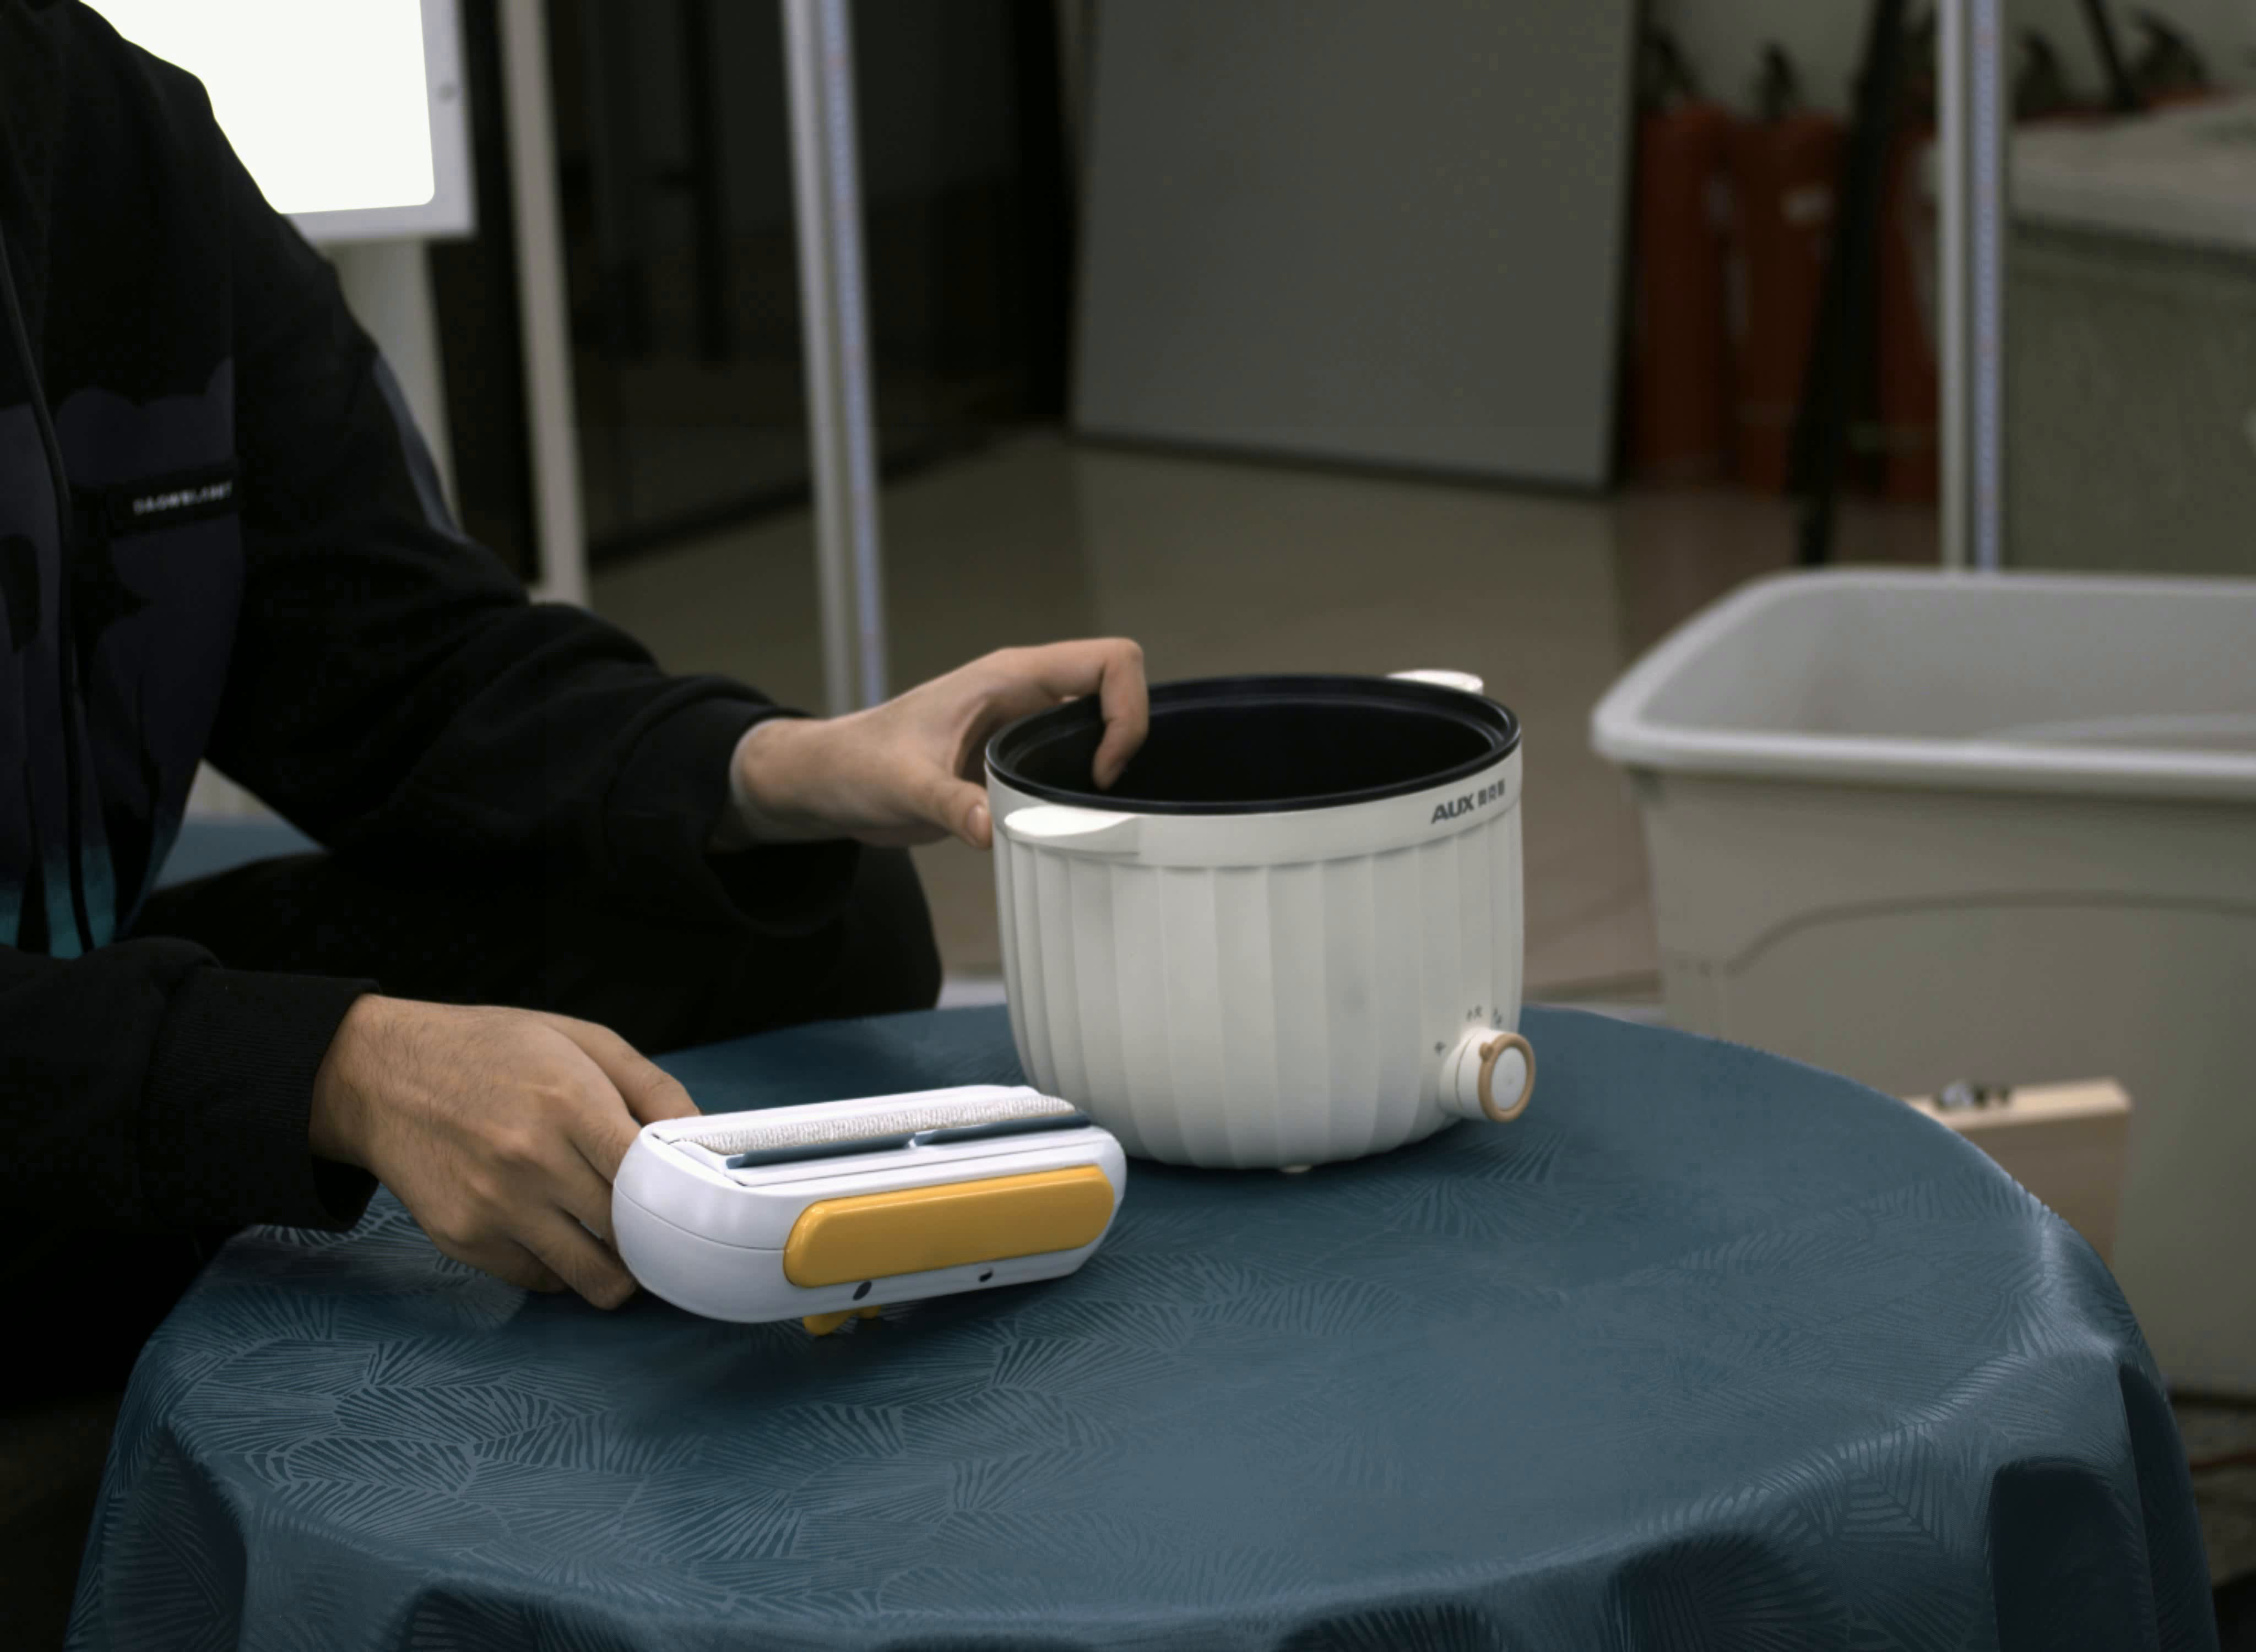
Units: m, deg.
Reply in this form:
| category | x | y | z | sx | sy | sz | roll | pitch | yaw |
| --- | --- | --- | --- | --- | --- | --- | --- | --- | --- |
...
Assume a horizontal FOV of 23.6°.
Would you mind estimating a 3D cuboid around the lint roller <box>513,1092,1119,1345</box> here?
| category | x | y | z | sx | sy | sz | roll | pitch | yaw |
| --- | --- | --- | --- | --- | --- | --- | --- | --- | --- |
| lint roller | -0.123 | 0.111 | 1.687 | 0.188 | 0.075 | 0.194 | -8 | 16 | -44 |

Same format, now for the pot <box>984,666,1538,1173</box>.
| category | x | y | z | sx | sy | sz | roll | pitch | yaw |
| --- | --- | --- | --- | --- | --- | --- | --- | --- | --- |
| pot | 0.050 | 0.033 | 1.817 | 0.192 | 0.144 | 0.236 | 4 | 17 | 39 |
